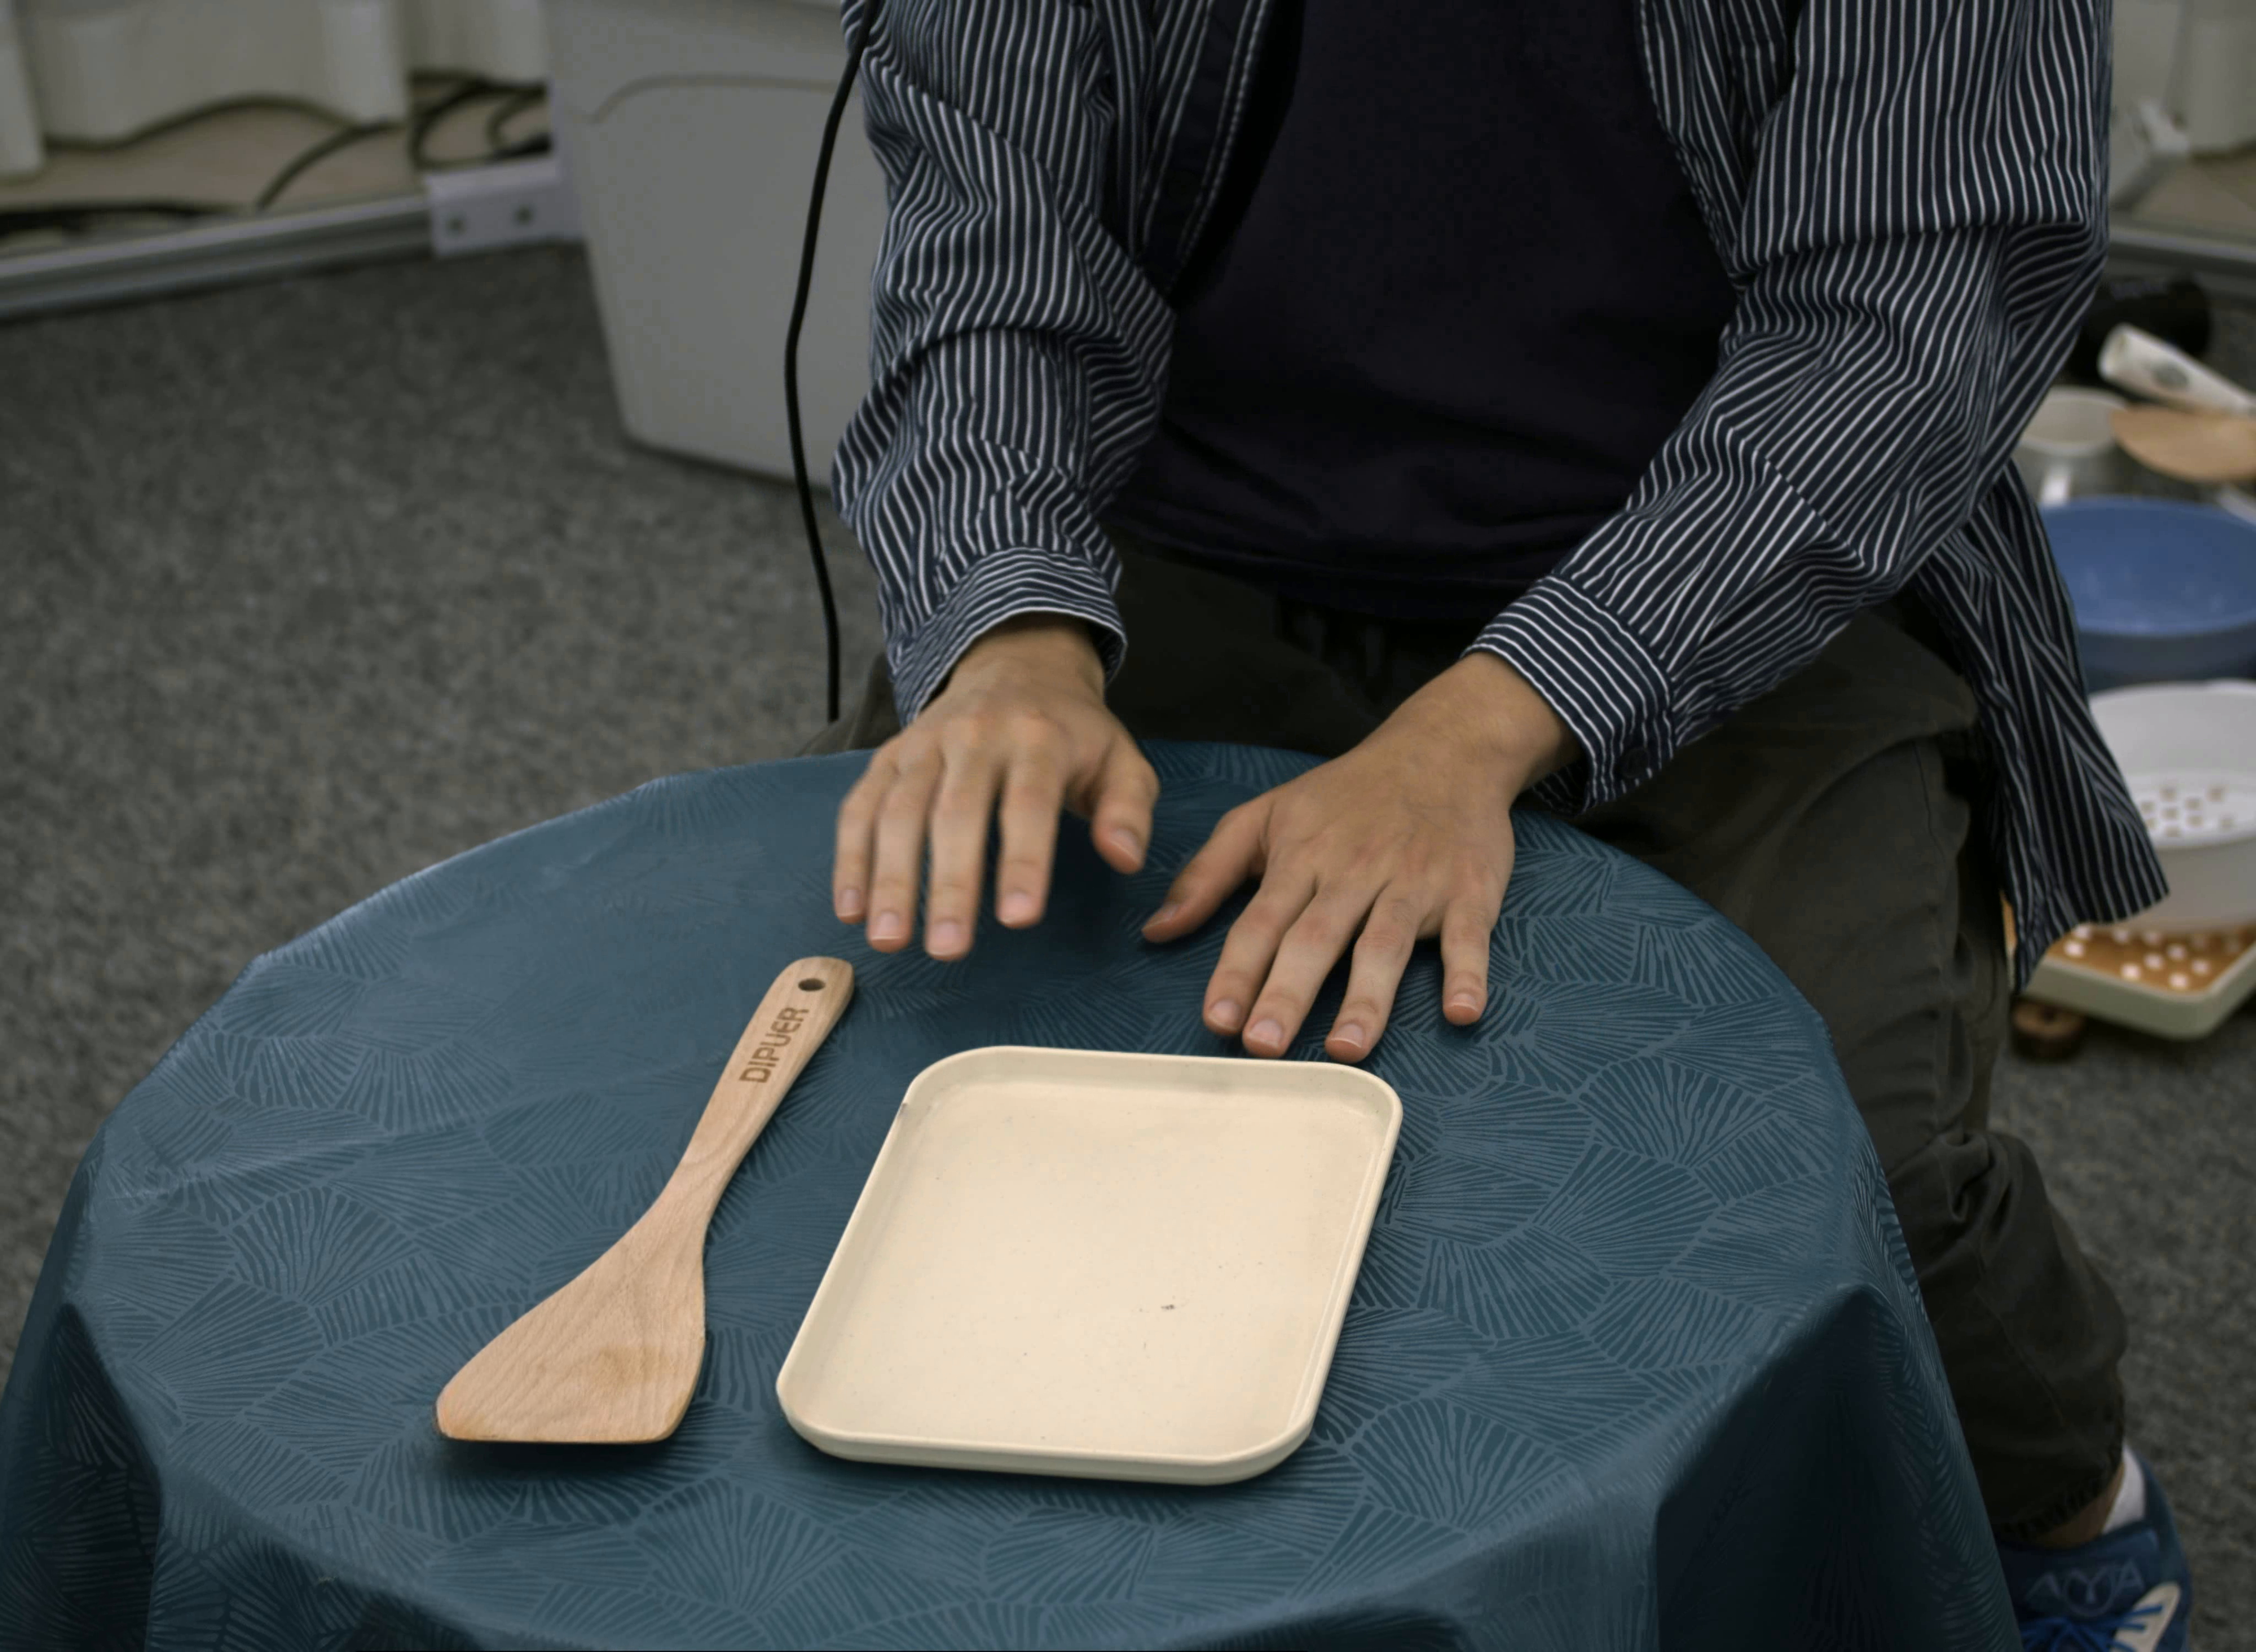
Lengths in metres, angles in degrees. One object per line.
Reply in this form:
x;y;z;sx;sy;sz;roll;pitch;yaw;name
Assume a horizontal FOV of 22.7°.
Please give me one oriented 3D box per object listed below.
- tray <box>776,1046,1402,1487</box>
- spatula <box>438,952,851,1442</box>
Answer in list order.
-0.009;0.140;1.802;0.170;0.017;0.244;3;28;11;tray
-0.142;0.119;1.857;0.079;0.016;0.333;4;28;12;spatula
